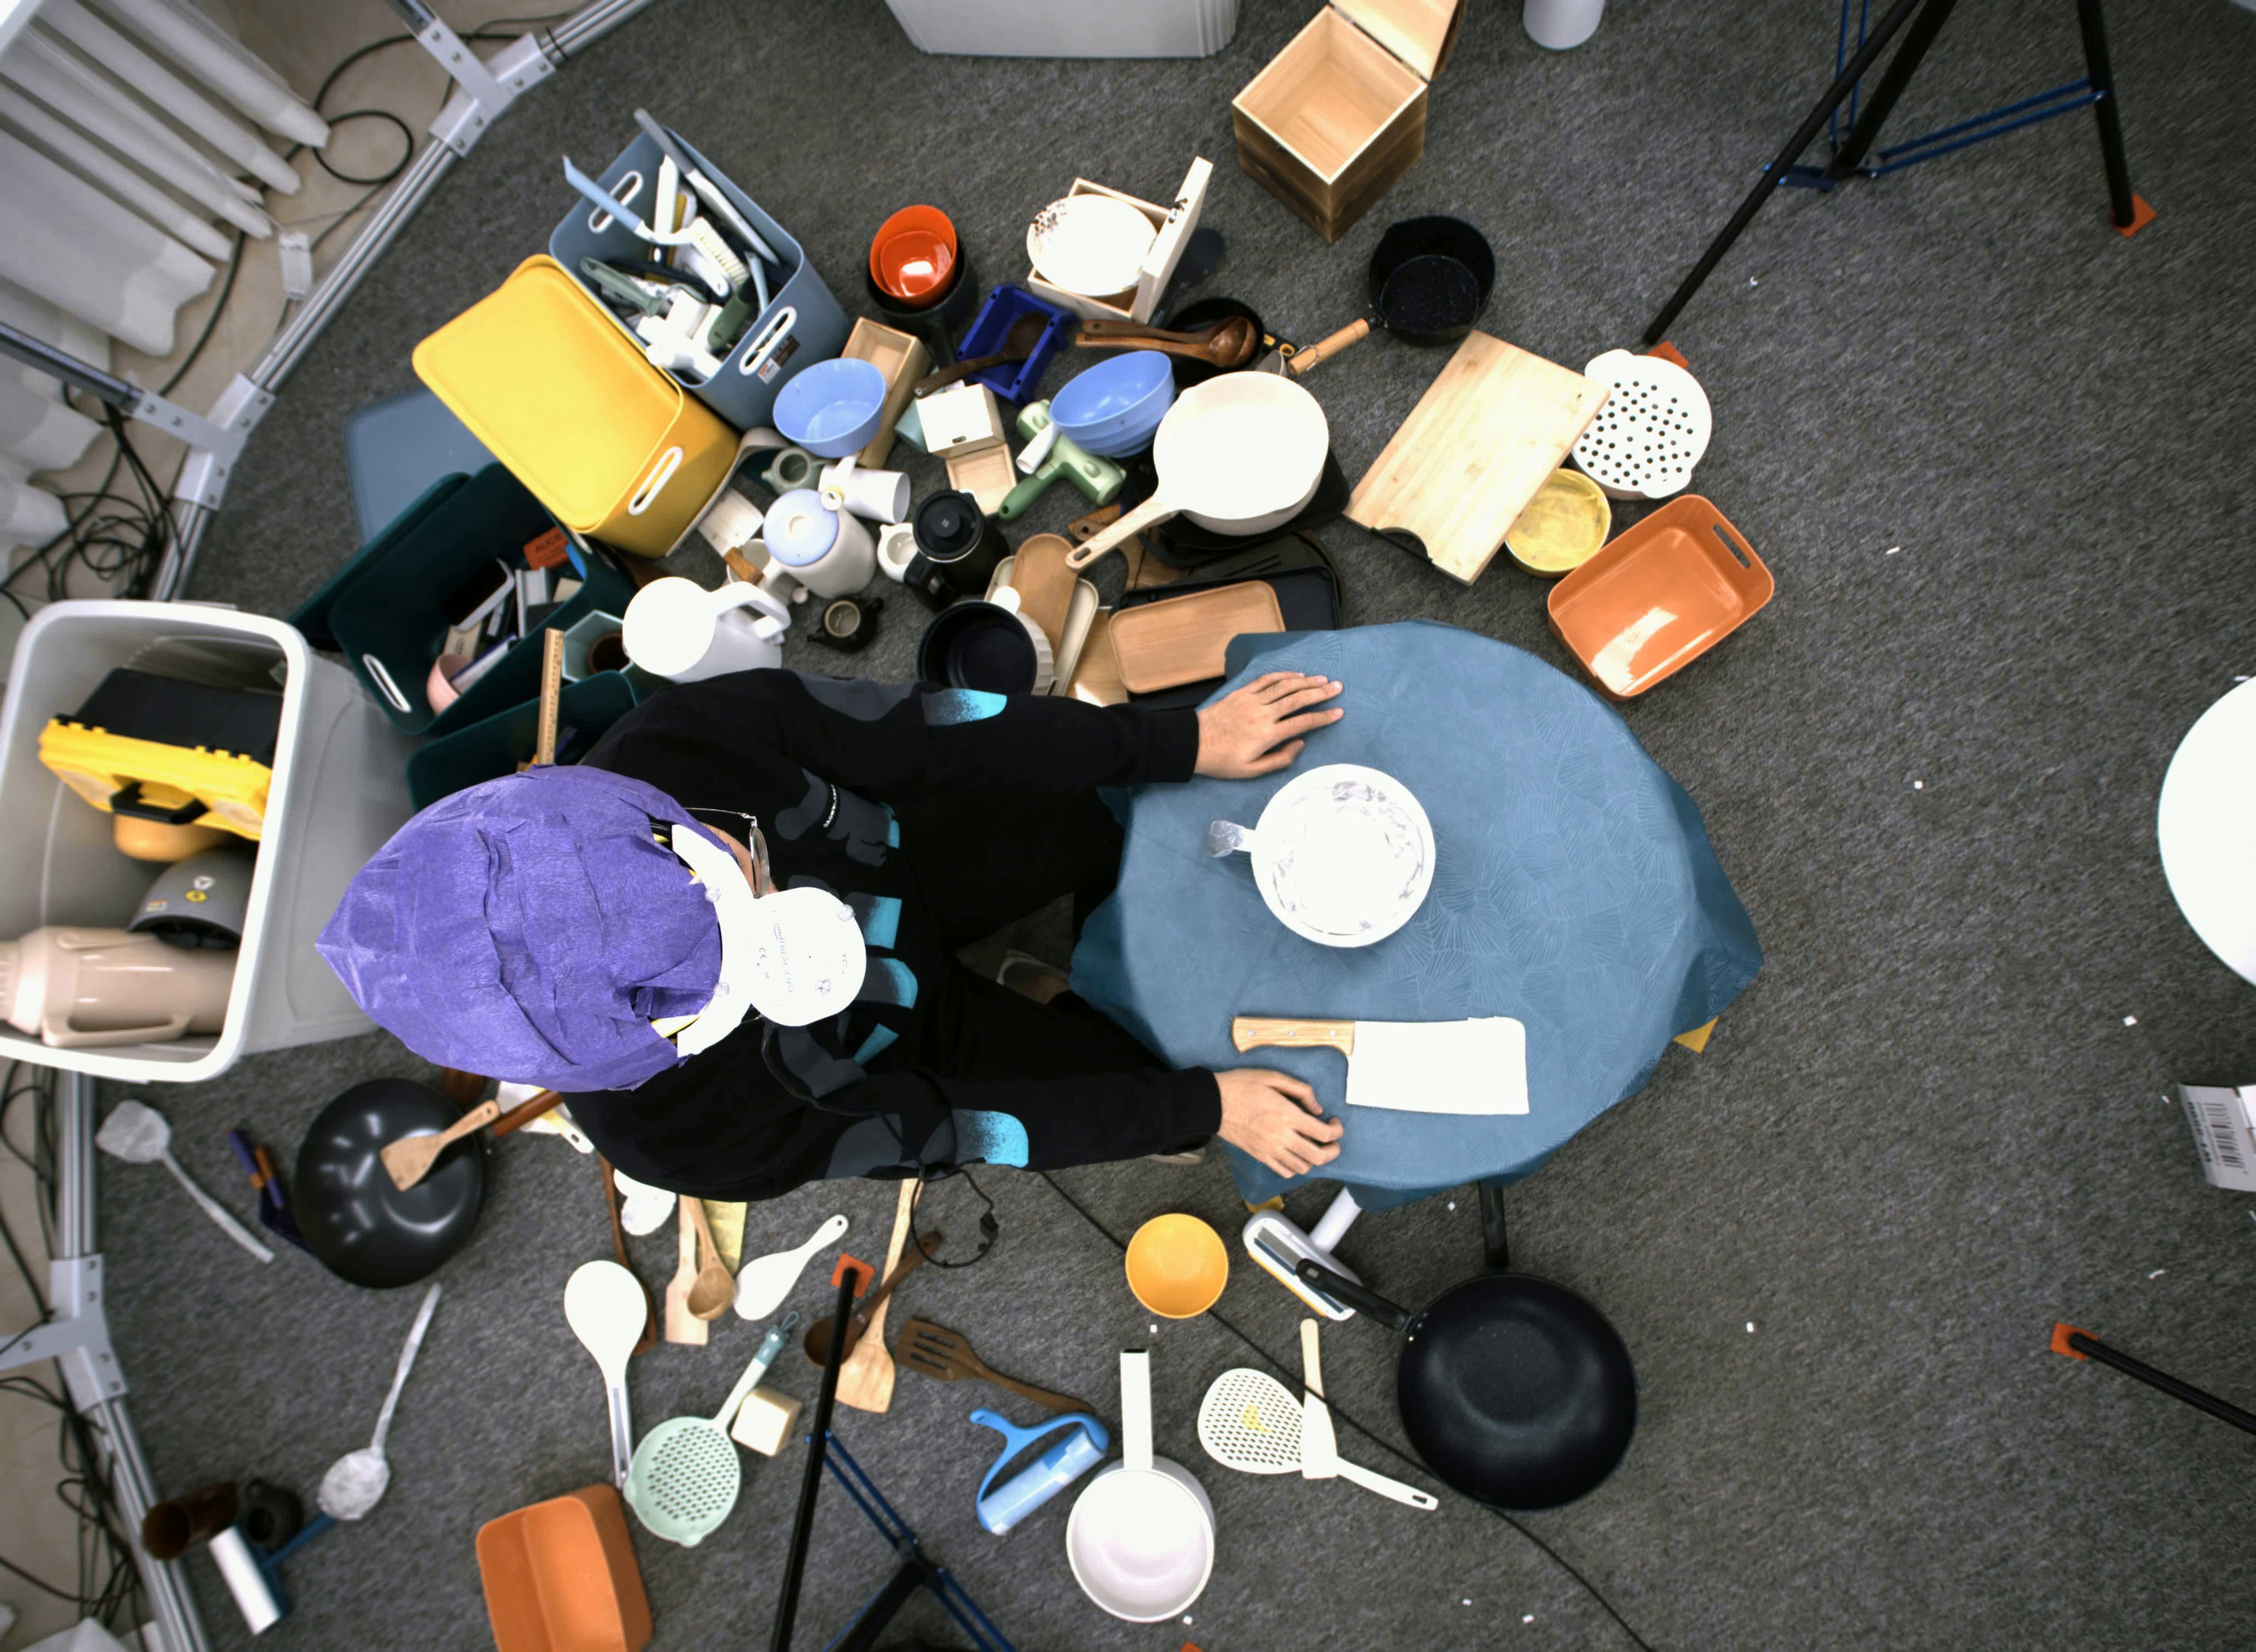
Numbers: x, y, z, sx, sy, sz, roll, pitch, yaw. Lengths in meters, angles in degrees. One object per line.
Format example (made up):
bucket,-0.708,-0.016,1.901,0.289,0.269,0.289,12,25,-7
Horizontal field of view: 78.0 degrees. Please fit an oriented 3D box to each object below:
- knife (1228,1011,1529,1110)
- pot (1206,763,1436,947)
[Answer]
knife,0.261,0.236,1.443,0.316,0.022,0.113,5,88,8
pot,0.192,0.028,1.407,0.234,0.137,0.178,9,87,10
